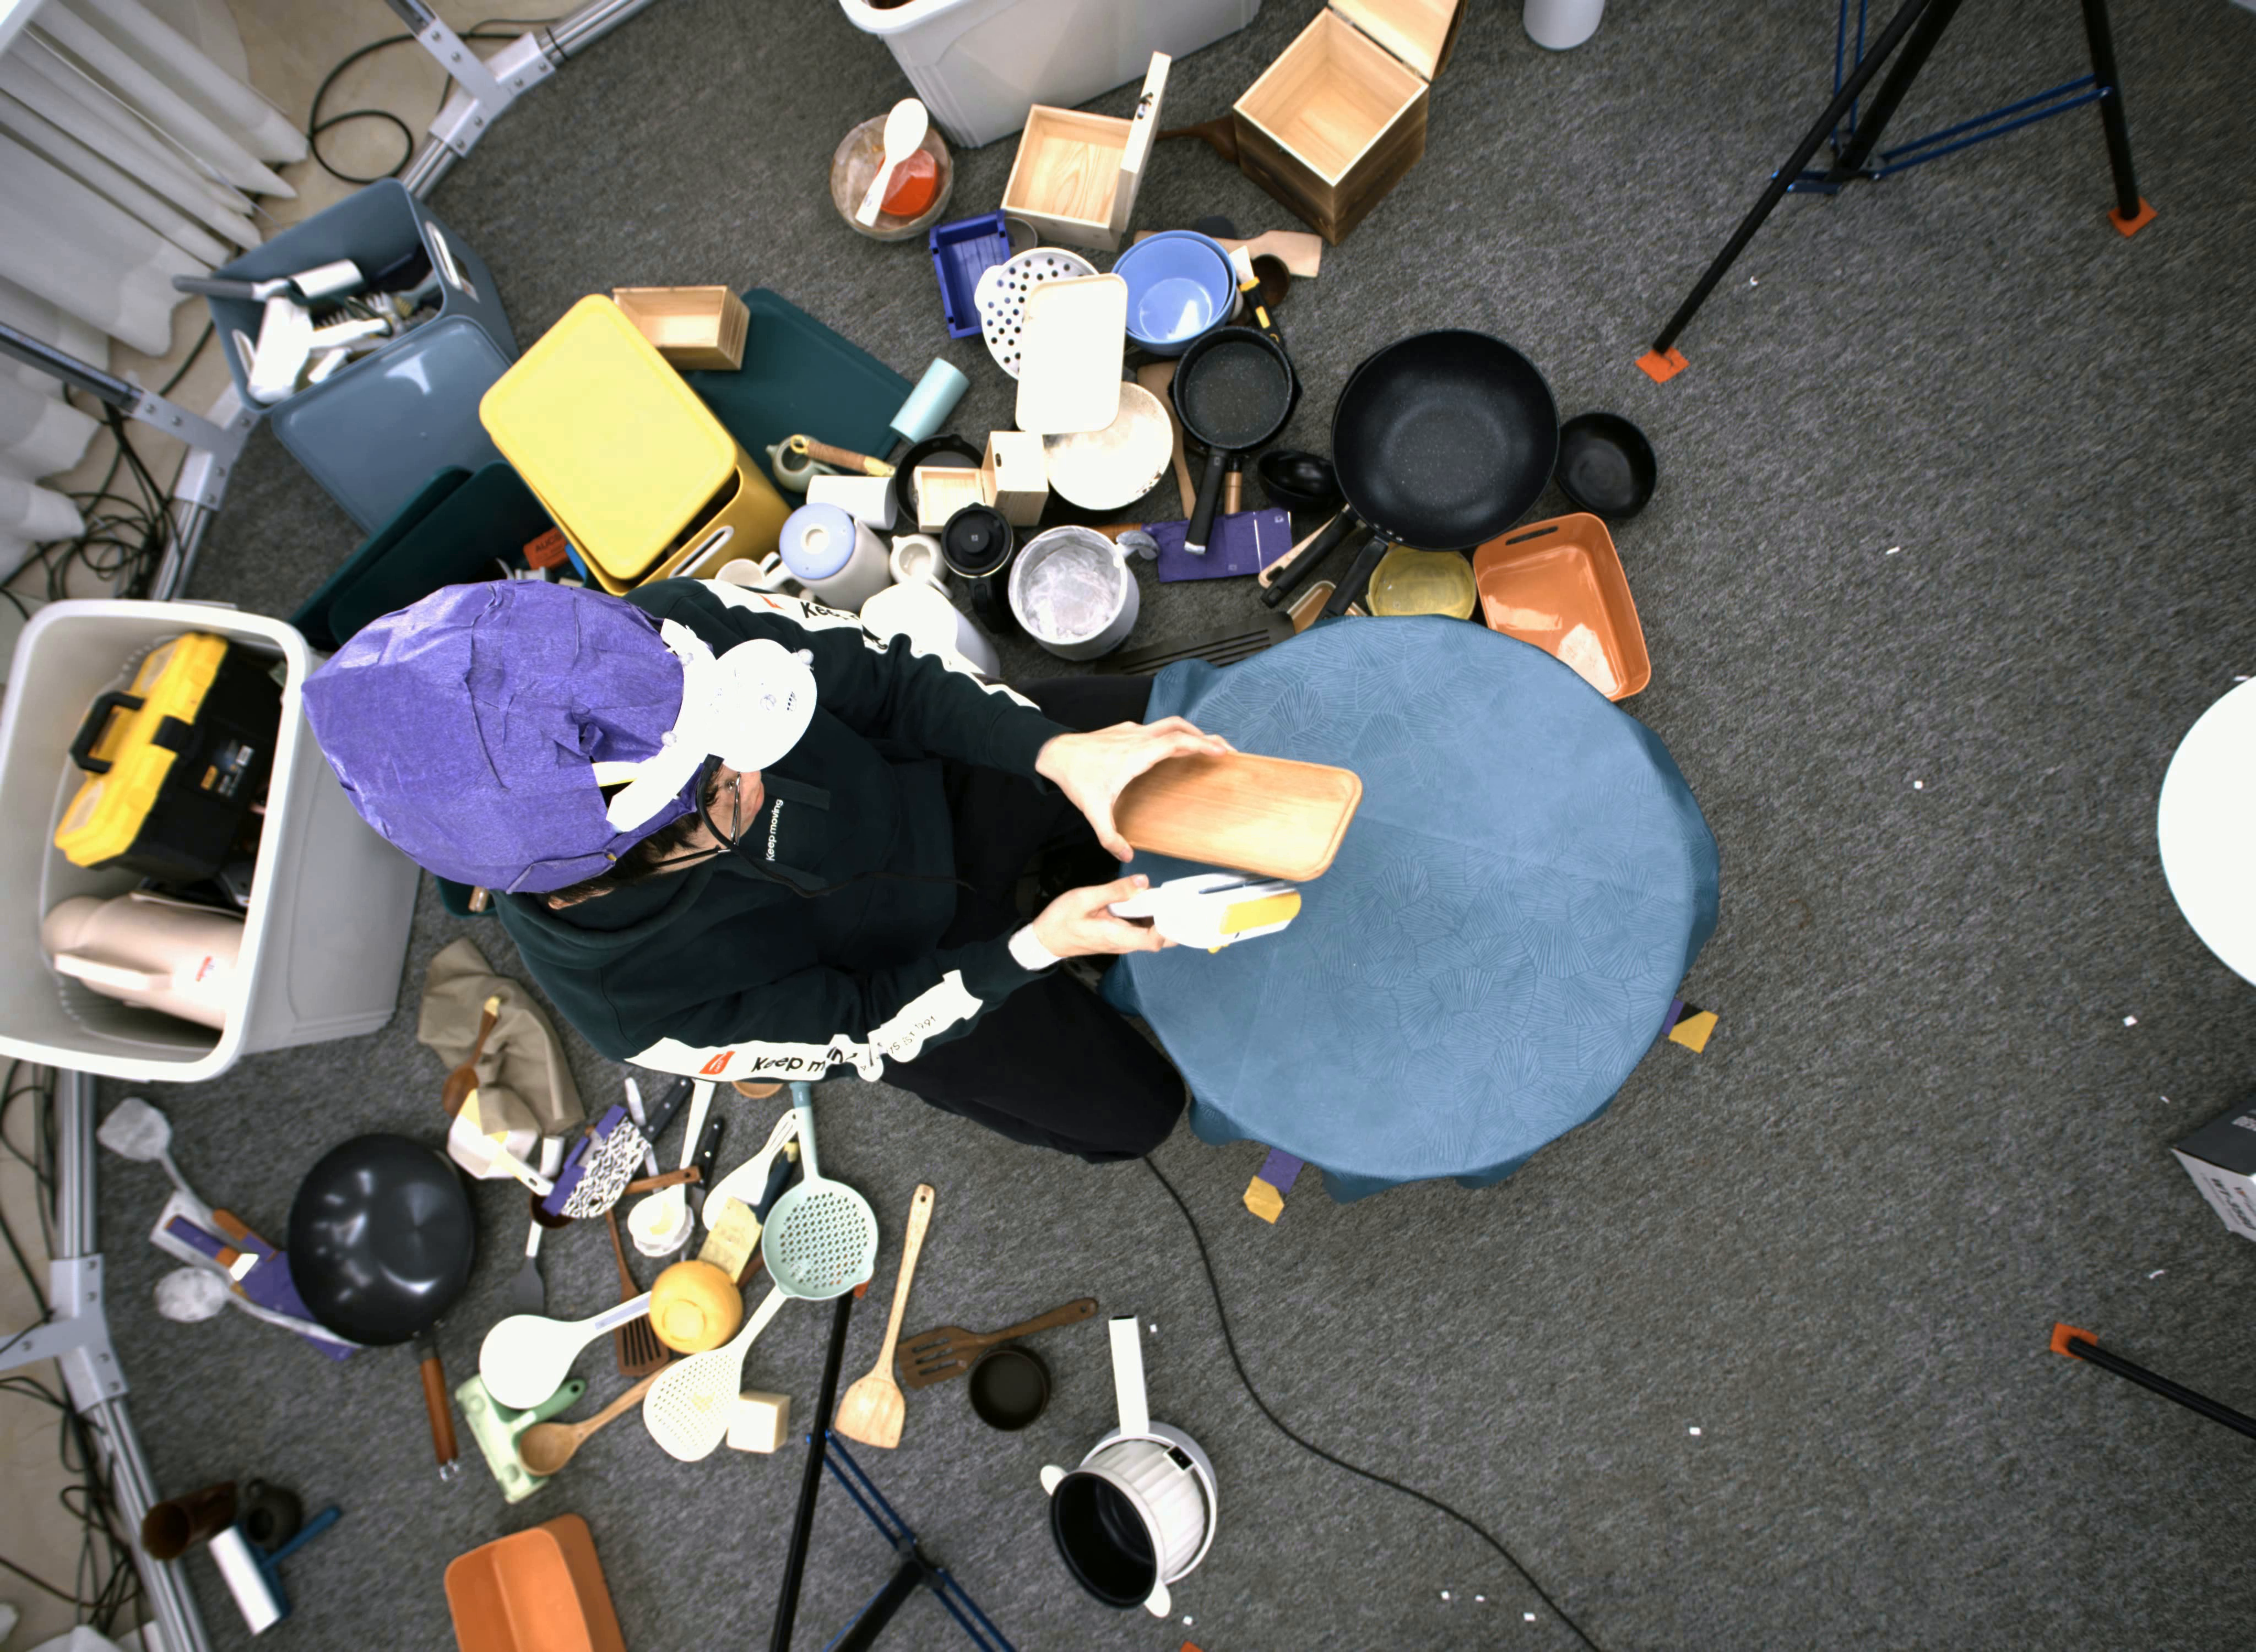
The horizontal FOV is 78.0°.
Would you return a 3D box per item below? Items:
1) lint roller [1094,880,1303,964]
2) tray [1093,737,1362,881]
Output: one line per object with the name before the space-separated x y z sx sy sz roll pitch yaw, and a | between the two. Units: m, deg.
lint roller | 0.044 0.087 1.291 0.194 0.190 0.074 -1 96 40
tray | 0.091 -0.018 1.299 0.251 0.023 0.128 12 58 33
